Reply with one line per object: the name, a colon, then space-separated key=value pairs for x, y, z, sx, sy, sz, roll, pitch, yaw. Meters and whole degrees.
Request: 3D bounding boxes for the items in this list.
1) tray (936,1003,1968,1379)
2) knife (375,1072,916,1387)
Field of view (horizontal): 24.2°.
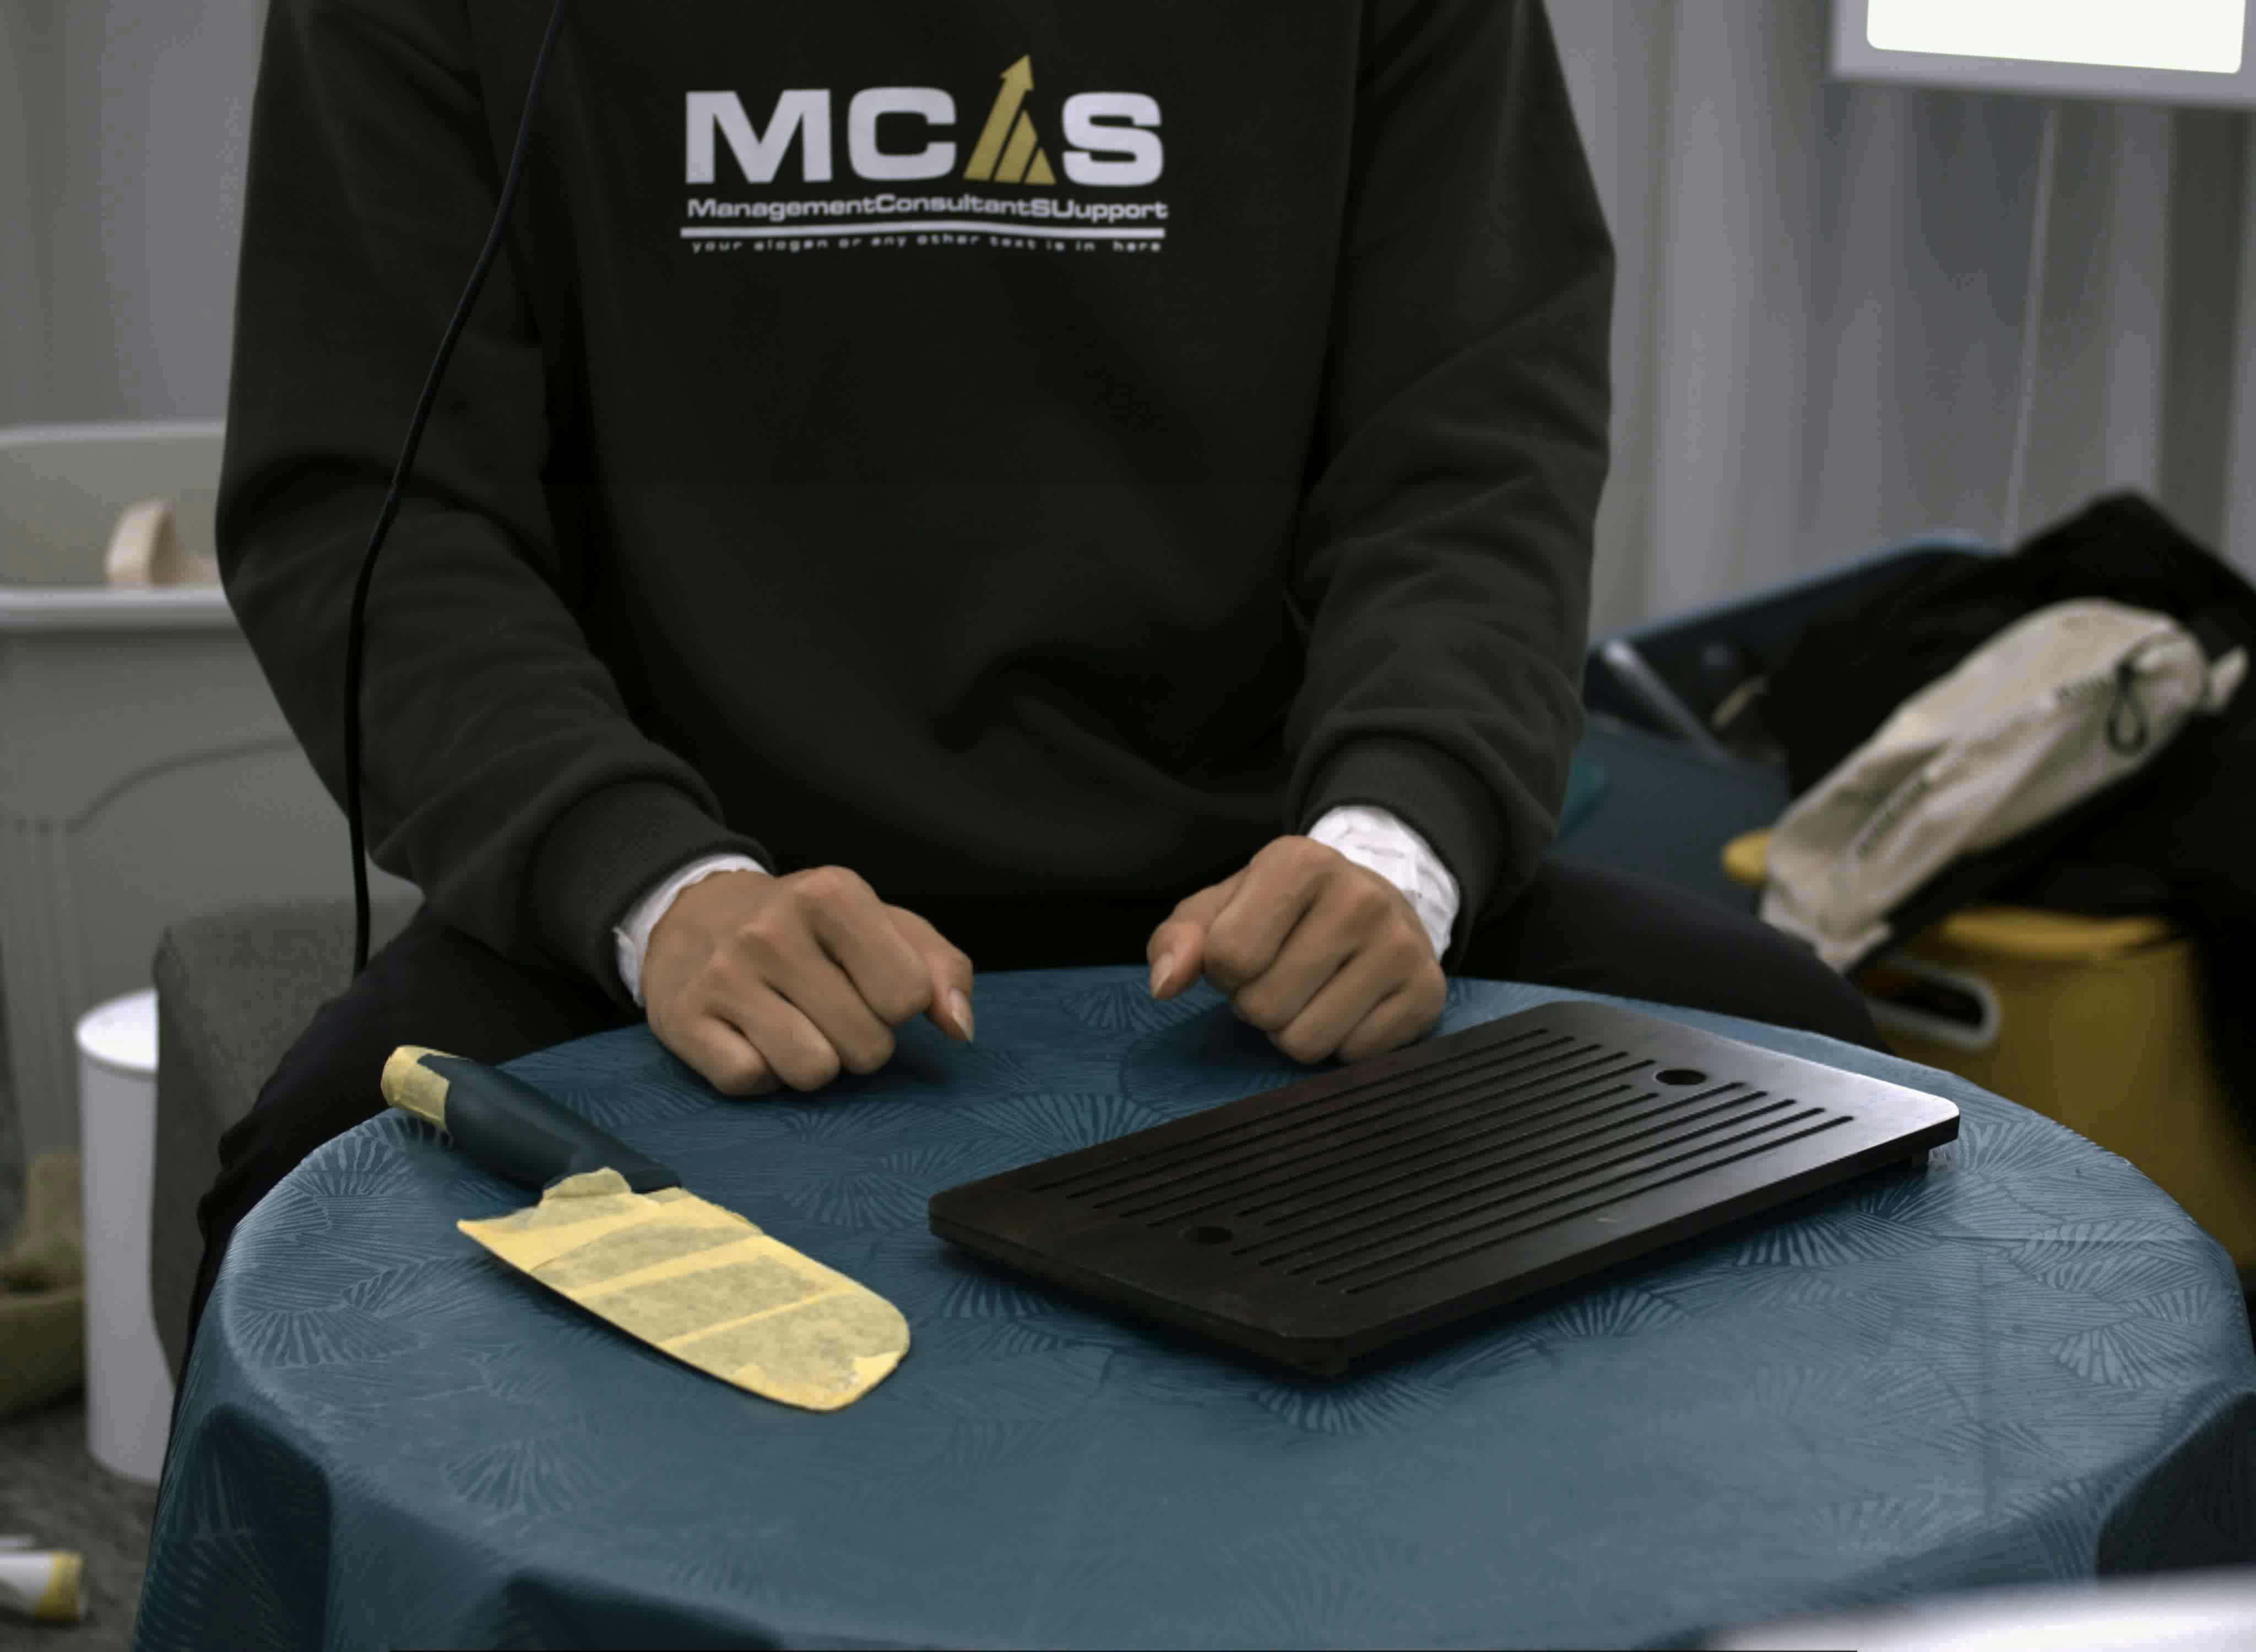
tray: x=0.103 y=0.108 z=1.610 sx=0.307 sy=0.019 sz=0.168 roll=-14 pitch=20 yaw=-43
knife: x=-0.156 y=0.121 z=1.563 sx=0.081 sy=0.027 sz=0.285 roll=-9 pitch=19 yaw=-36
